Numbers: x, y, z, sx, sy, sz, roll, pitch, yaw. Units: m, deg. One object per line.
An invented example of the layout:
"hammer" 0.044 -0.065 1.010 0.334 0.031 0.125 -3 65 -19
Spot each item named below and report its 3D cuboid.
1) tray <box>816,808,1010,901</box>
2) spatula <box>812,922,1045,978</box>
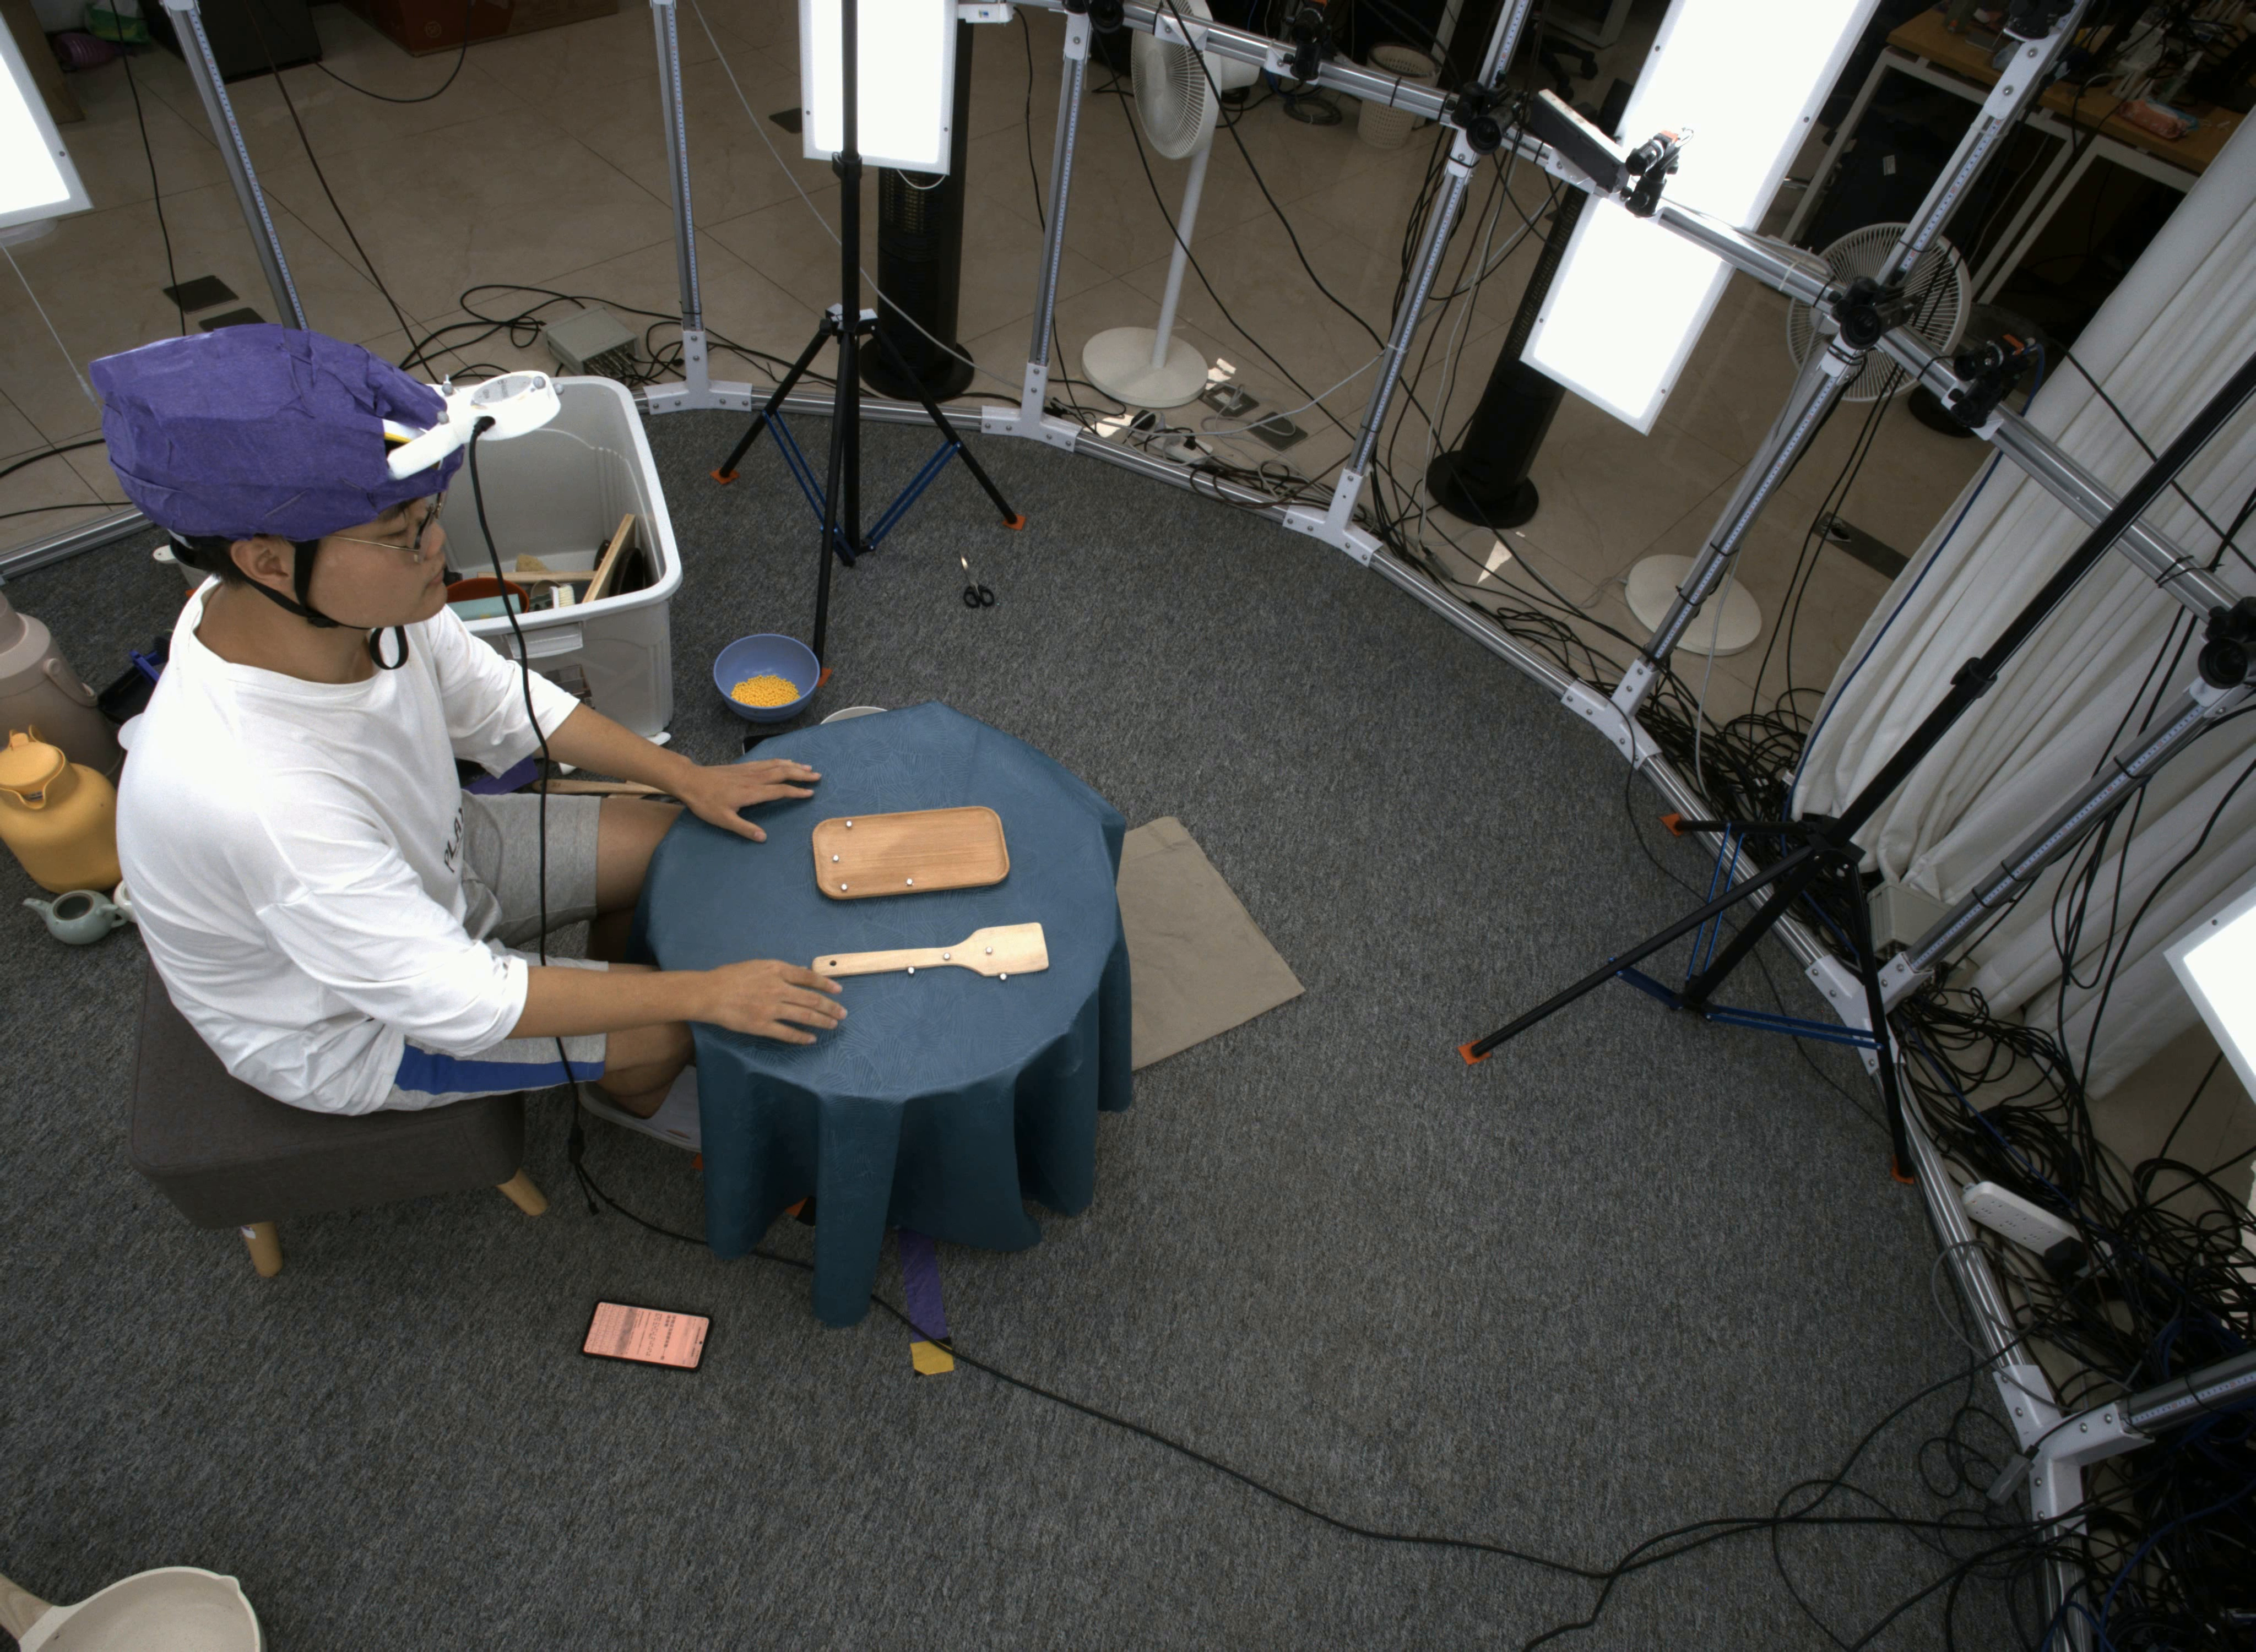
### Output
"tray" -0.285 0.036 1.731 0.251 0.023 0.128 -4 57 -16
"spatula" -0.252 0.164 1.648 0.294 0.011 0.070 -5 56 -17
